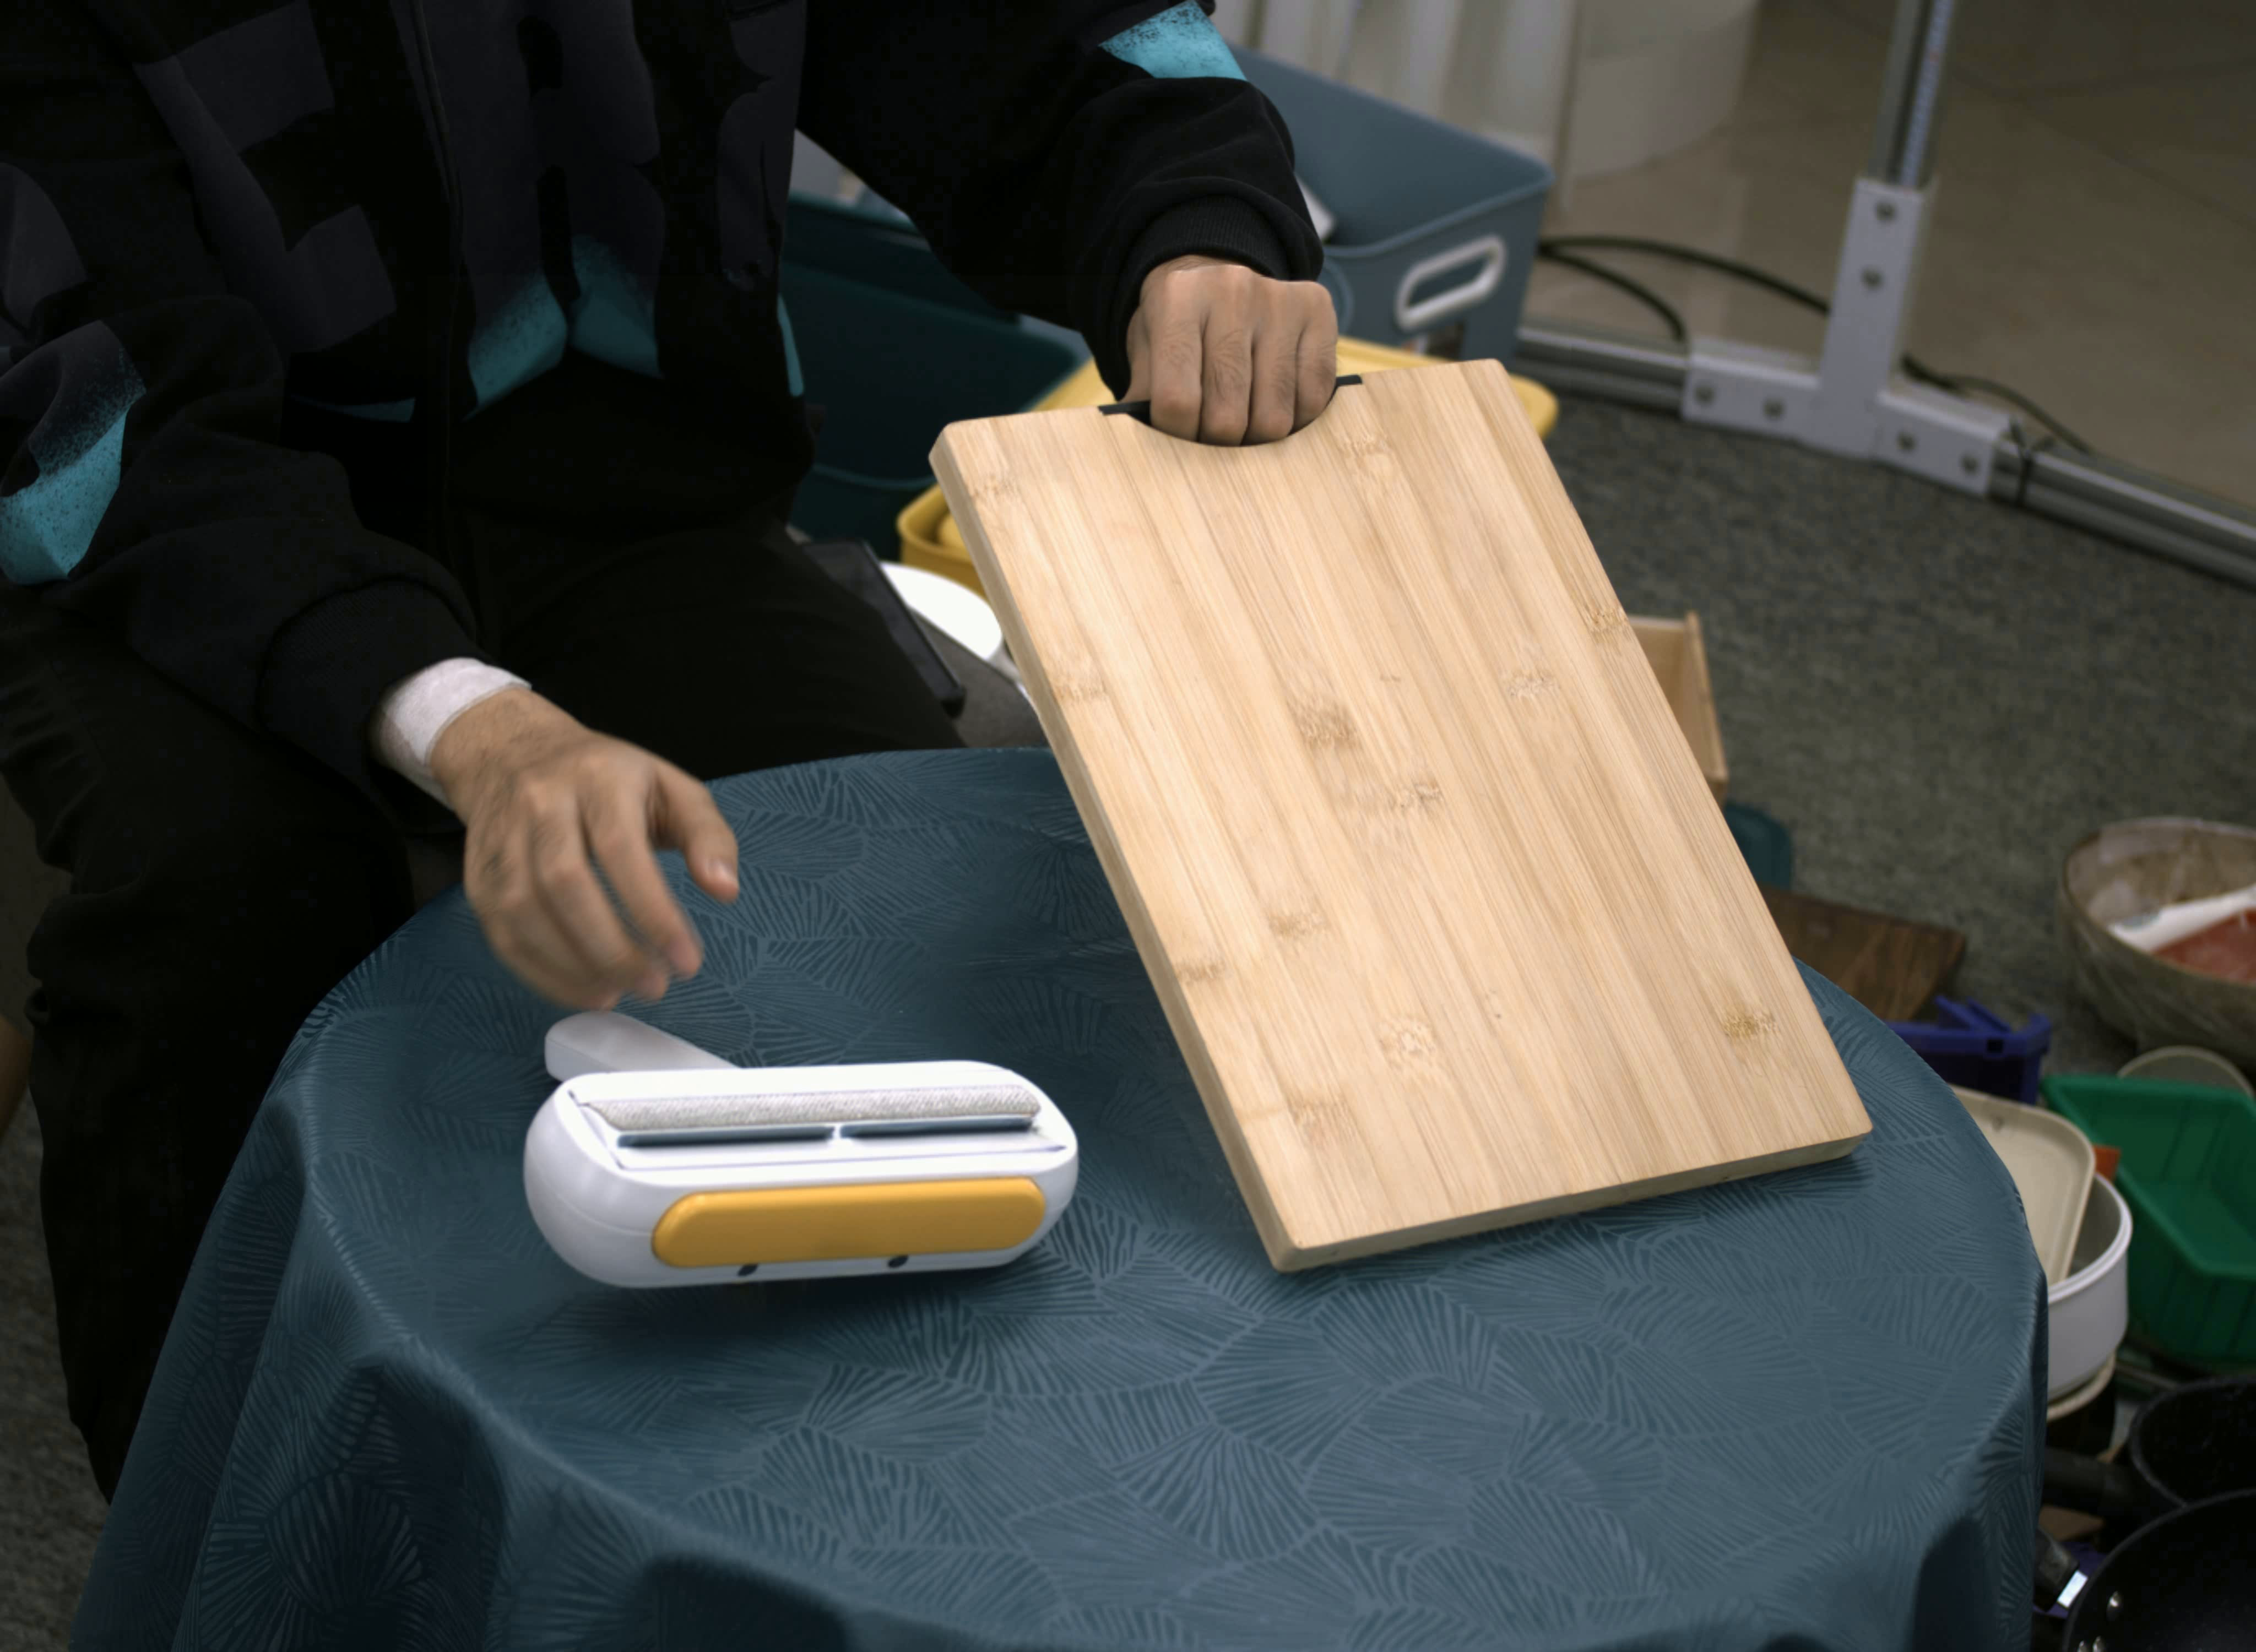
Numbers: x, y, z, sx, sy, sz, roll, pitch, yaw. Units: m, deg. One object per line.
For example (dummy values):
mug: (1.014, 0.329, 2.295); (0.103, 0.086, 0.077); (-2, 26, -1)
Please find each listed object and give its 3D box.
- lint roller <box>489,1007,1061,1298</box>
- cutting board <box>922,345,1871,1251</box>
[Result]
lint roller: (-0.139, 0.093, 1.753); (0.191, 0.074, 0.194); (-3, 26, -29)
cutting board: (0.092, -0.017, 1.886); (0.249, 0.023, 0.351); (-9, 61, -28)
